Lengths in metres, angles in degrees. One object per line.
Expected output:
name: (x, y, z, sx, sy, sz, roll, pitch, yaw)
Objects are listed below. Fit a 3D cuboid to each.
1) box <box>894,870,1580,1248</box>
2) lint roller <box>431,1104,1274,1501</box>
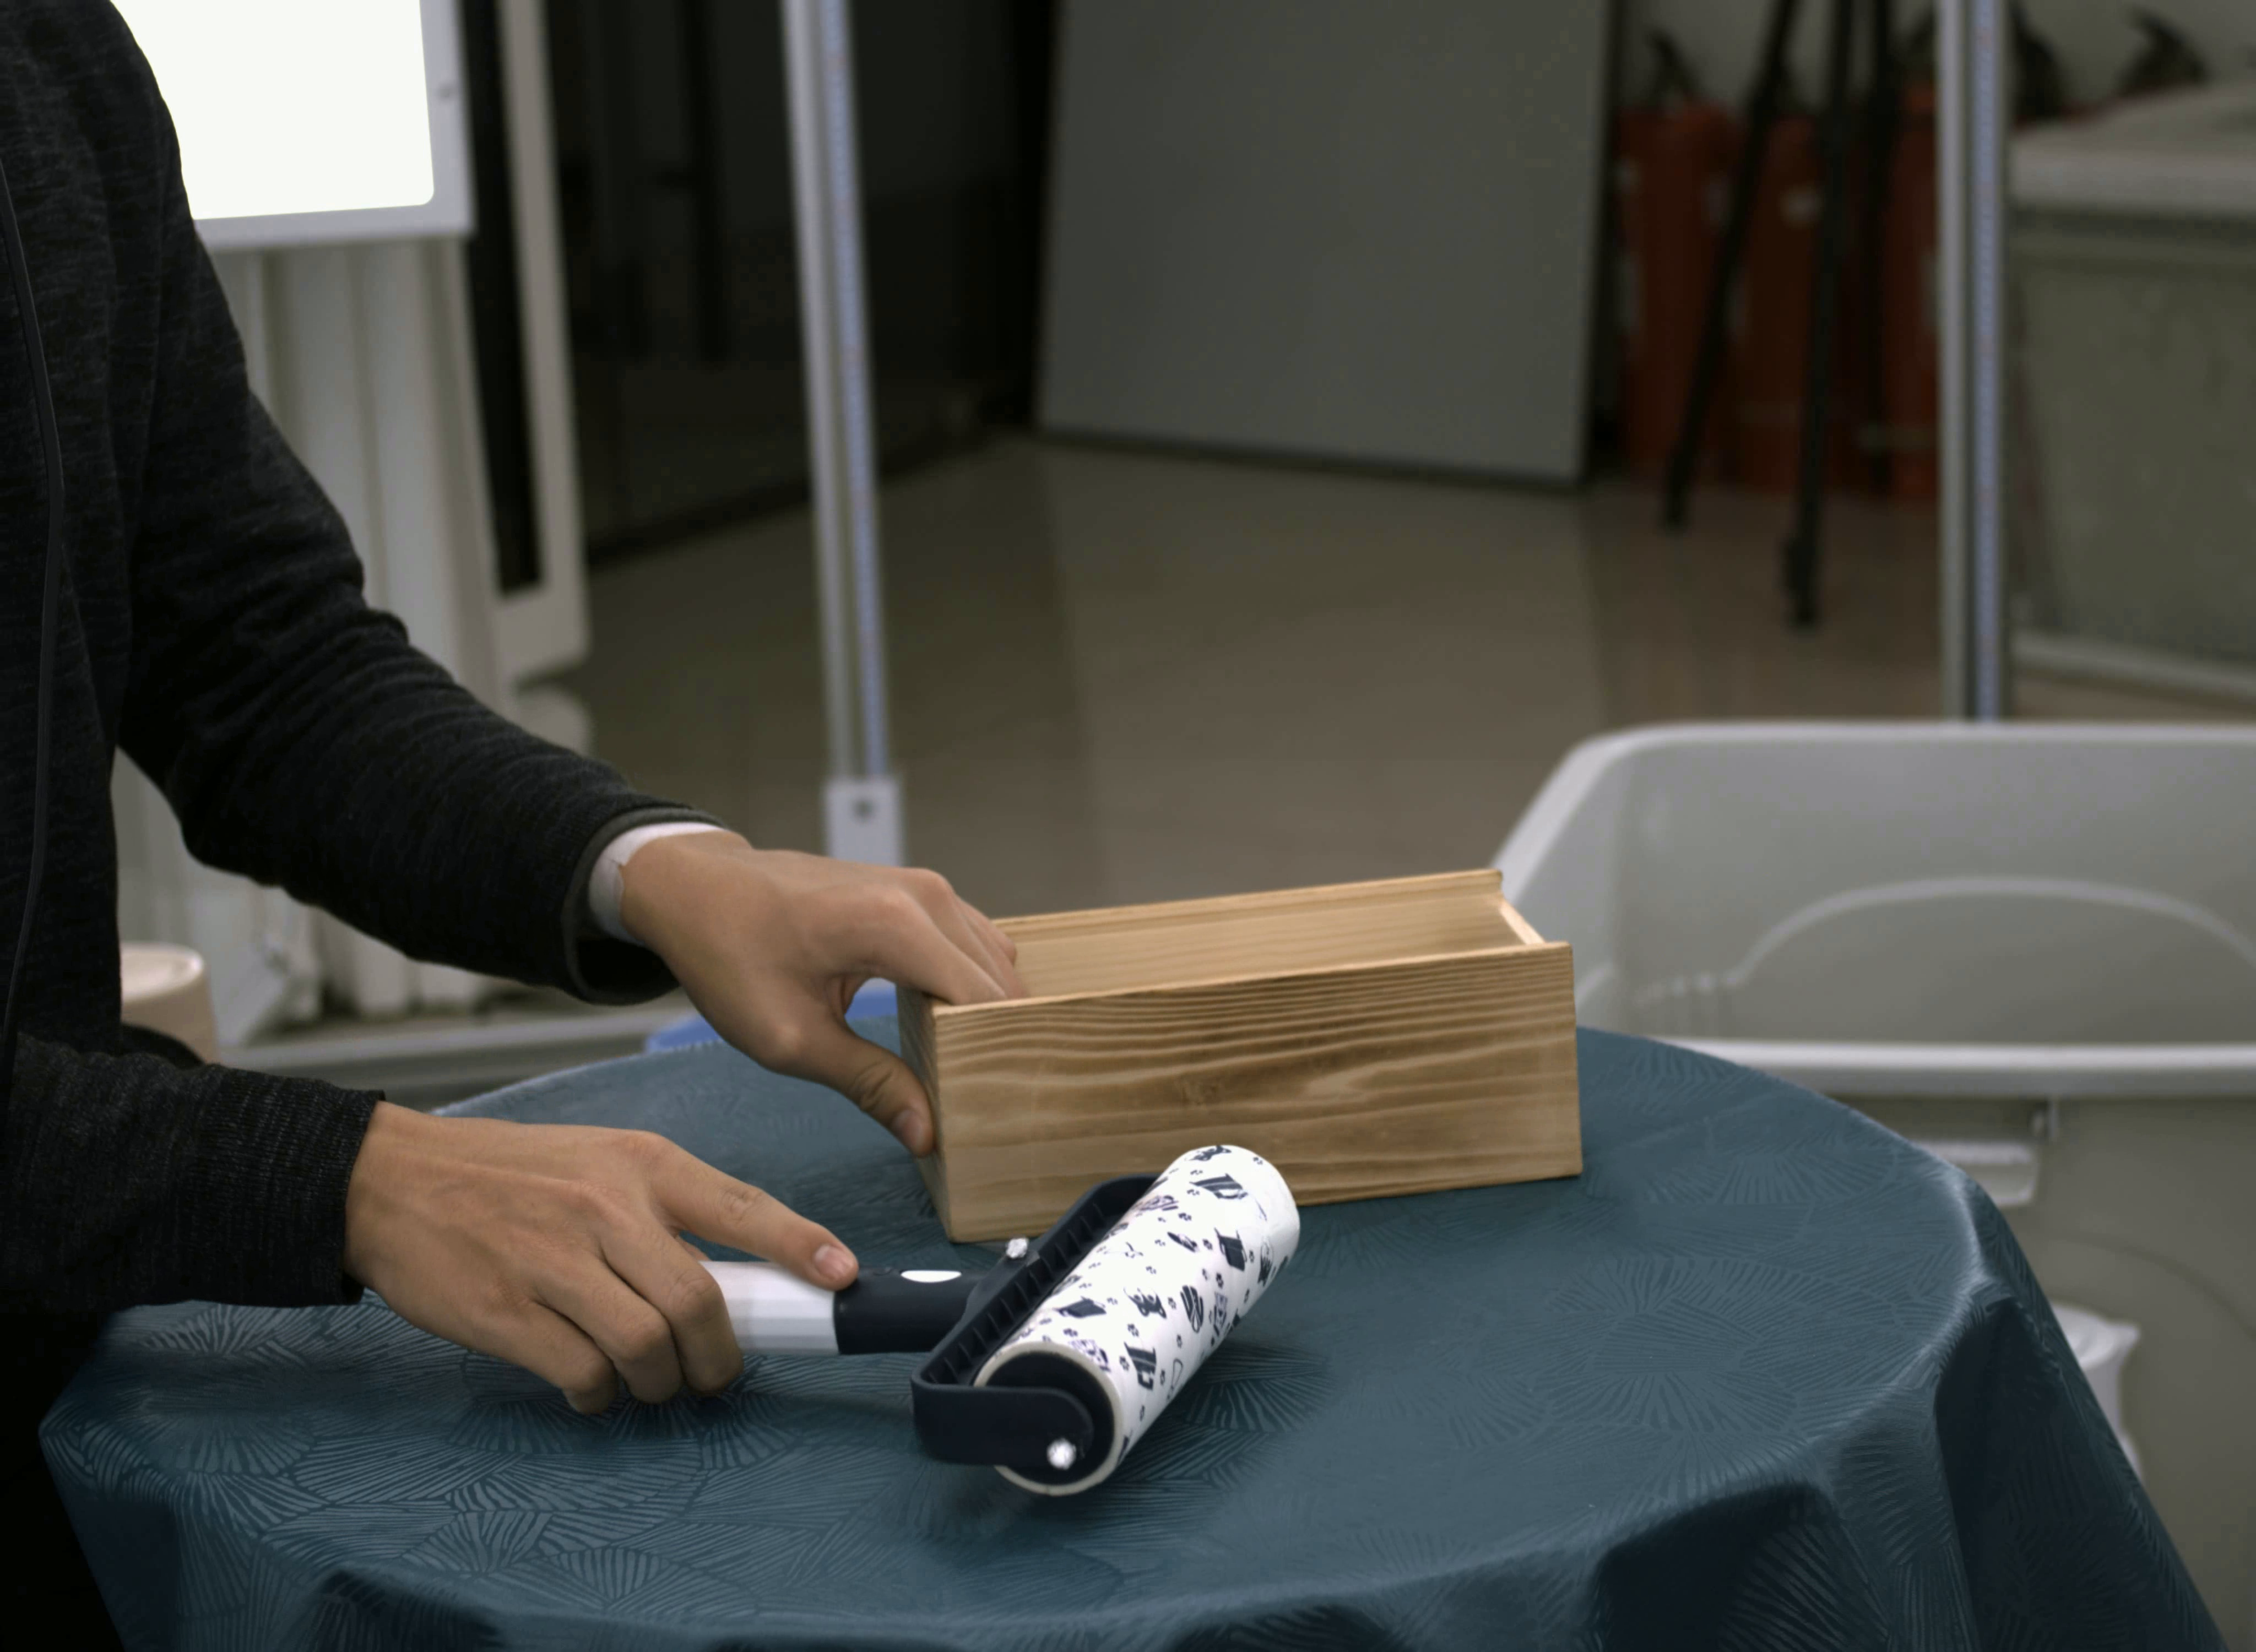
box: (0.034, 0.075, 1.778, 0.208, 0.081, 0.108, -6, 13, -7)
lint roller: (-0.094, 0.136, 1.585, 0.246, 0.051, 0.175, 0, 22, 20)
